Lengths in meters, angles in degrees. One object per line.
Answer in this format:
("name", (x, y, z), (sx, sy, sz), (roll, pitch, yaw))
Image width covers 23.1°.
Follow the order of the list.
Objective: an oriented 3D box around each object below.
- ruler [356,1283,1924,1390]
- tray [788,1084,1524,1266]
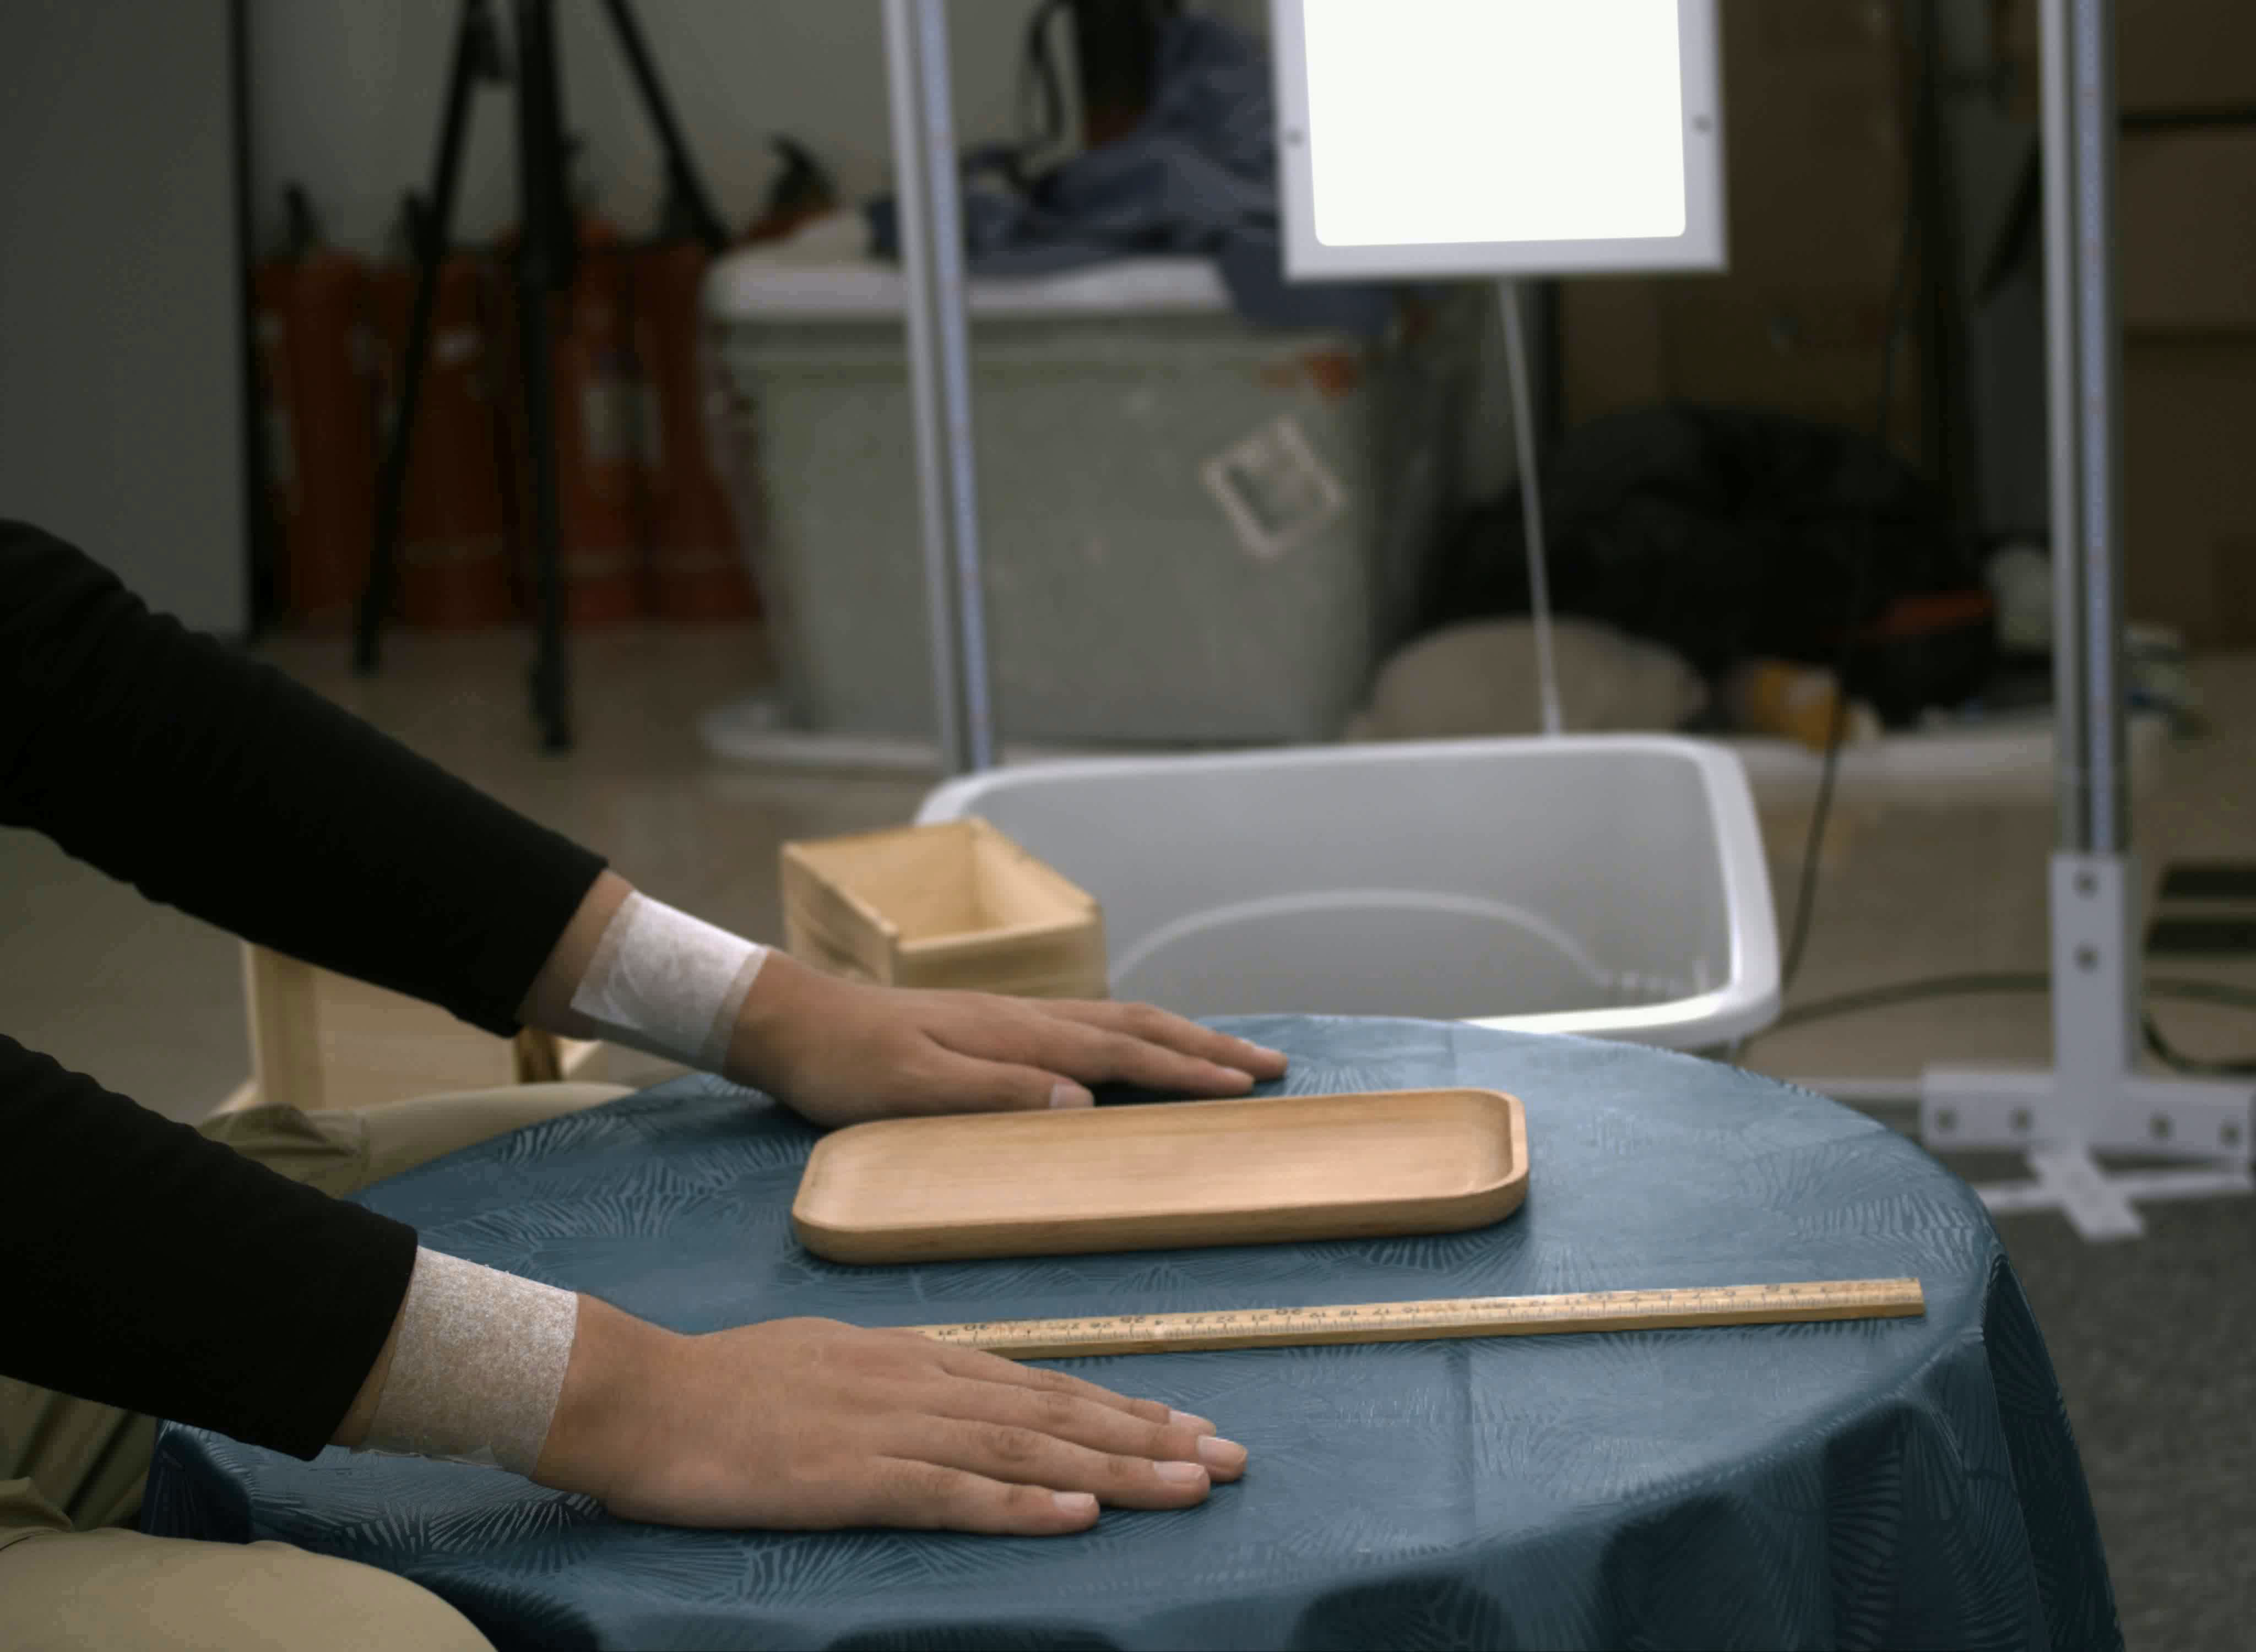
("ruler", (0.002, 0.161, 1.745), (0.502, 0.006, 0.026), (-3, 11, 8))
("tray", (0.012, 0.120, 1.889), (0.251, 0.023, 0.129), (-4, 12, 8))
